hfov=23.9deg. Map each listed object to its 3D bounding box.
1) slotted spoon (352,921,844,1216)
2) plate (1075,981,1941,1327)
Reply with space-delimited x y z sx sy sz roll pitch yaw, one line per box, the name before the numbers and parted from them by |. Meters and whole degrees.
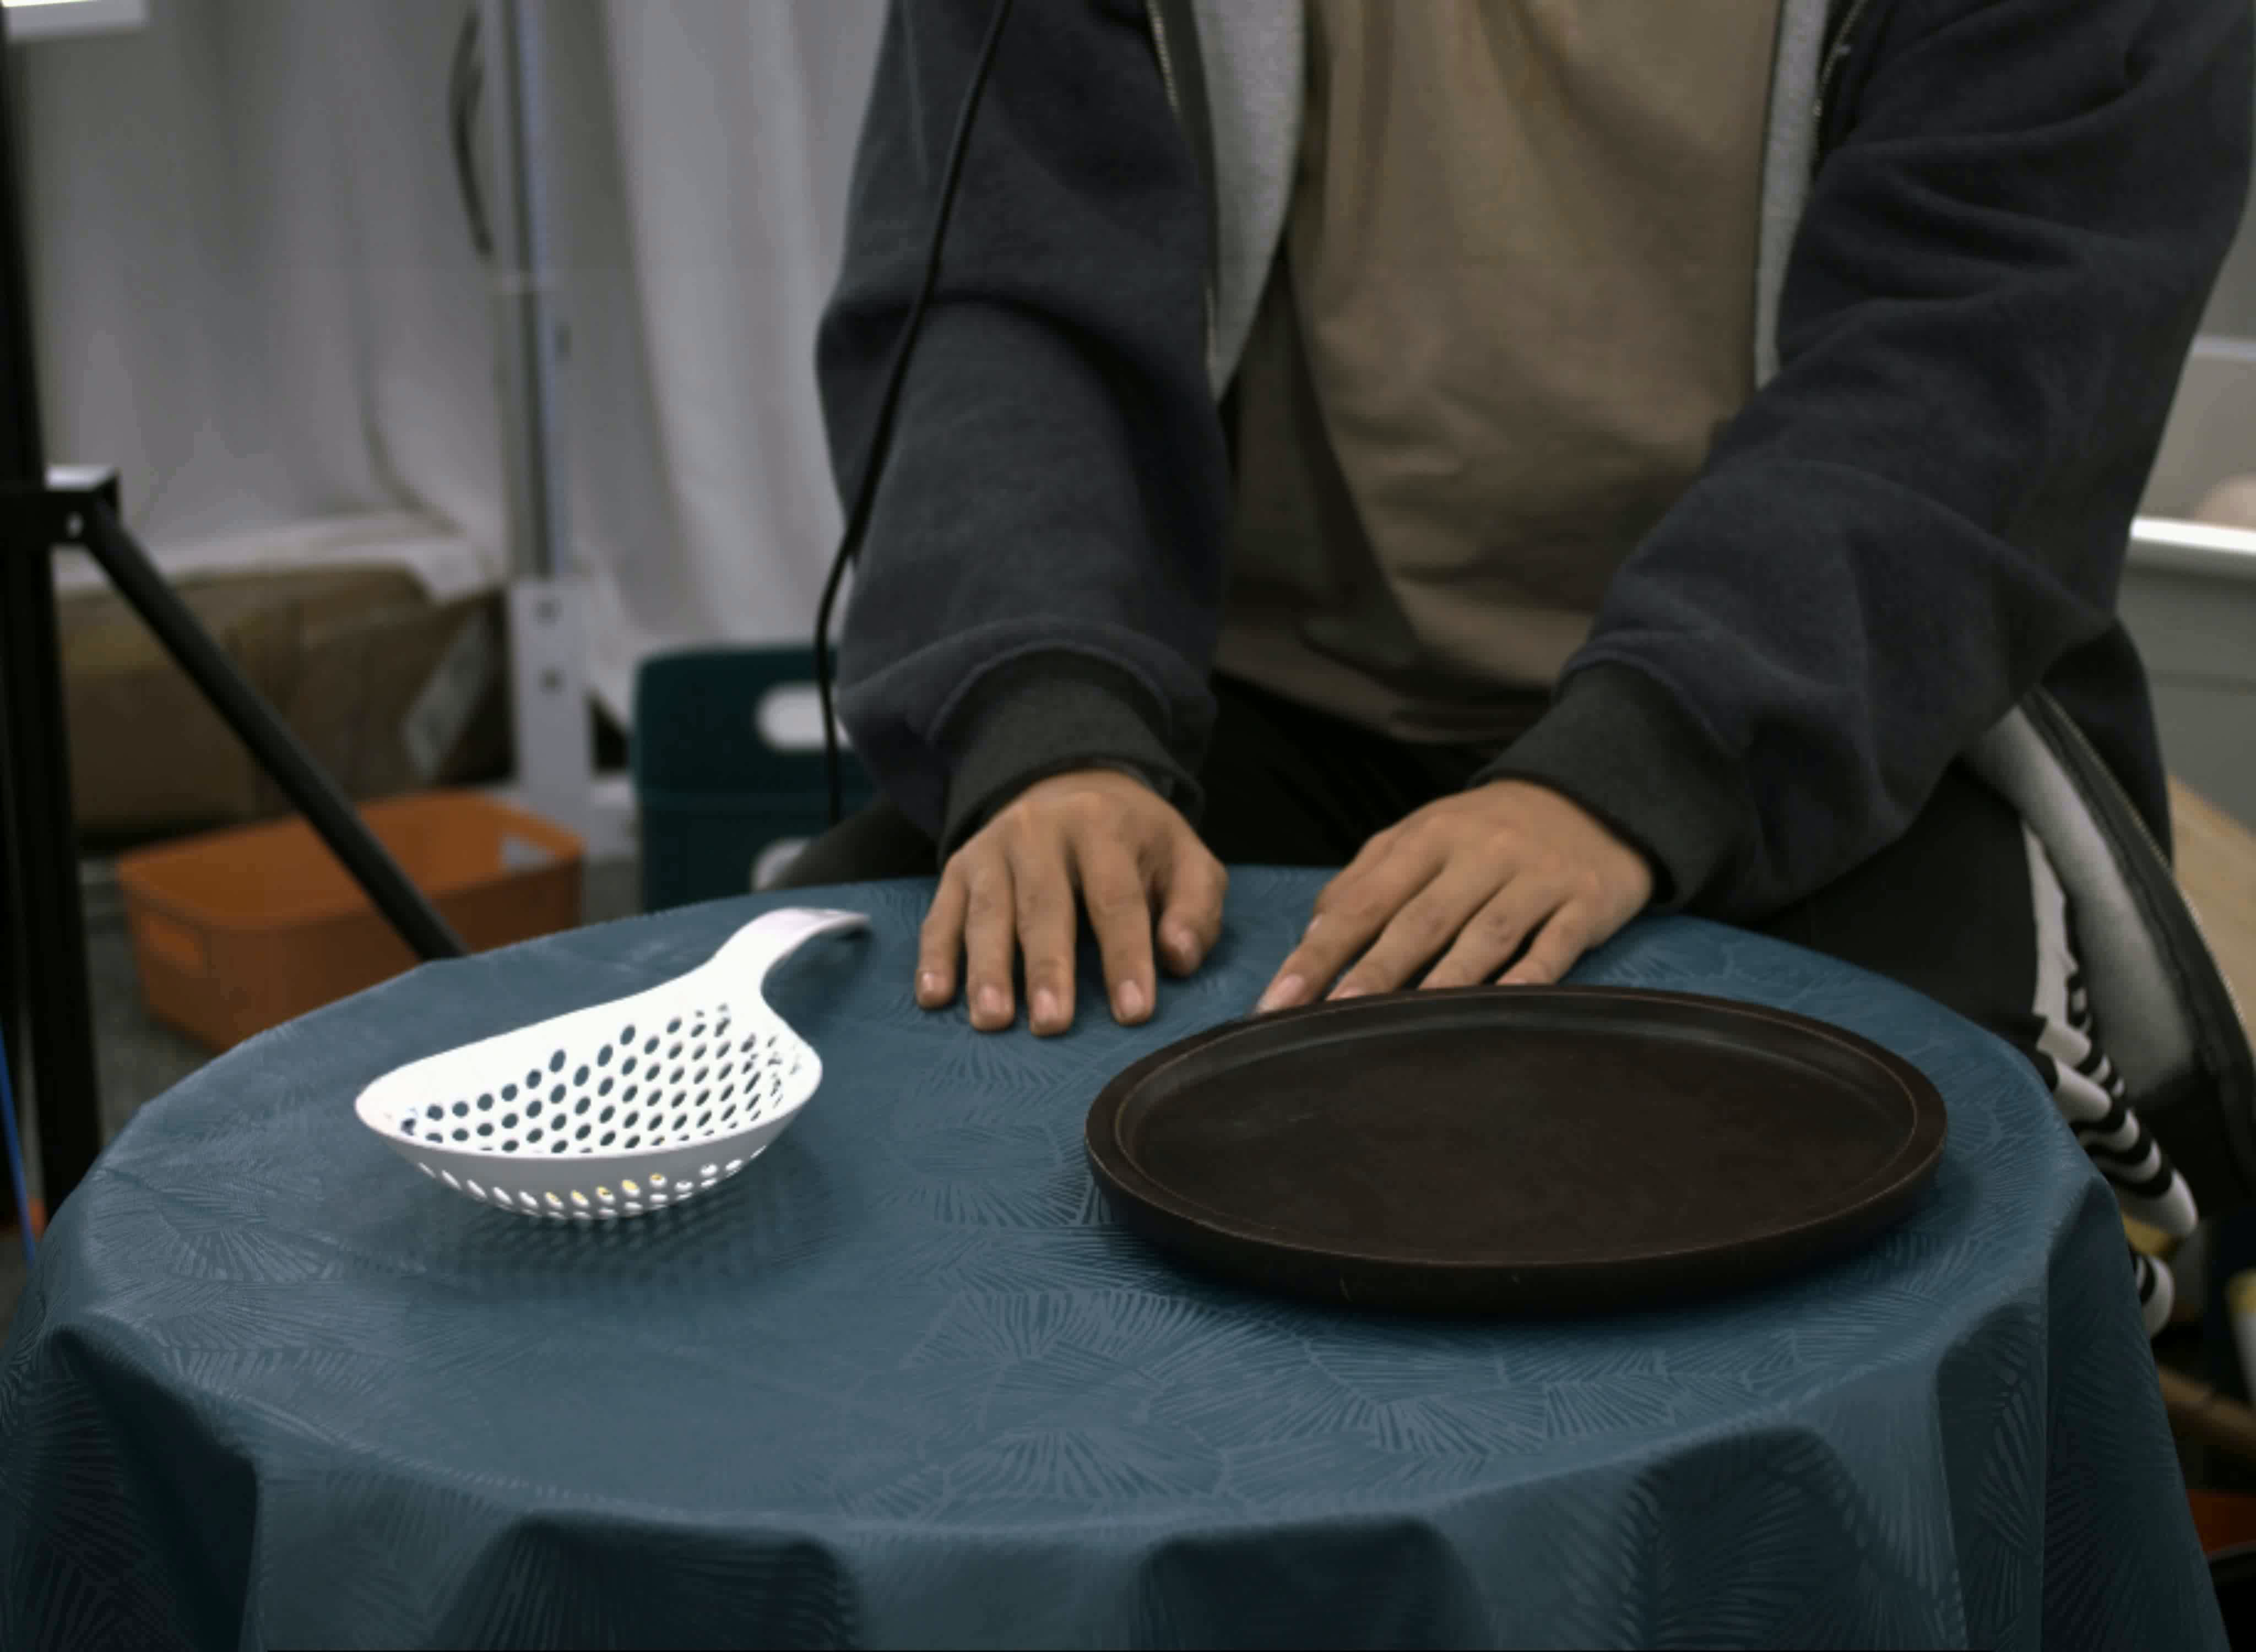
slotted spoon | -0.133 0.062 1.668 0.137 0.050 0.346 -1 16 13
plate | 0.111 0.094 1.550 0.253 0.029 0.256 -4 15 0
